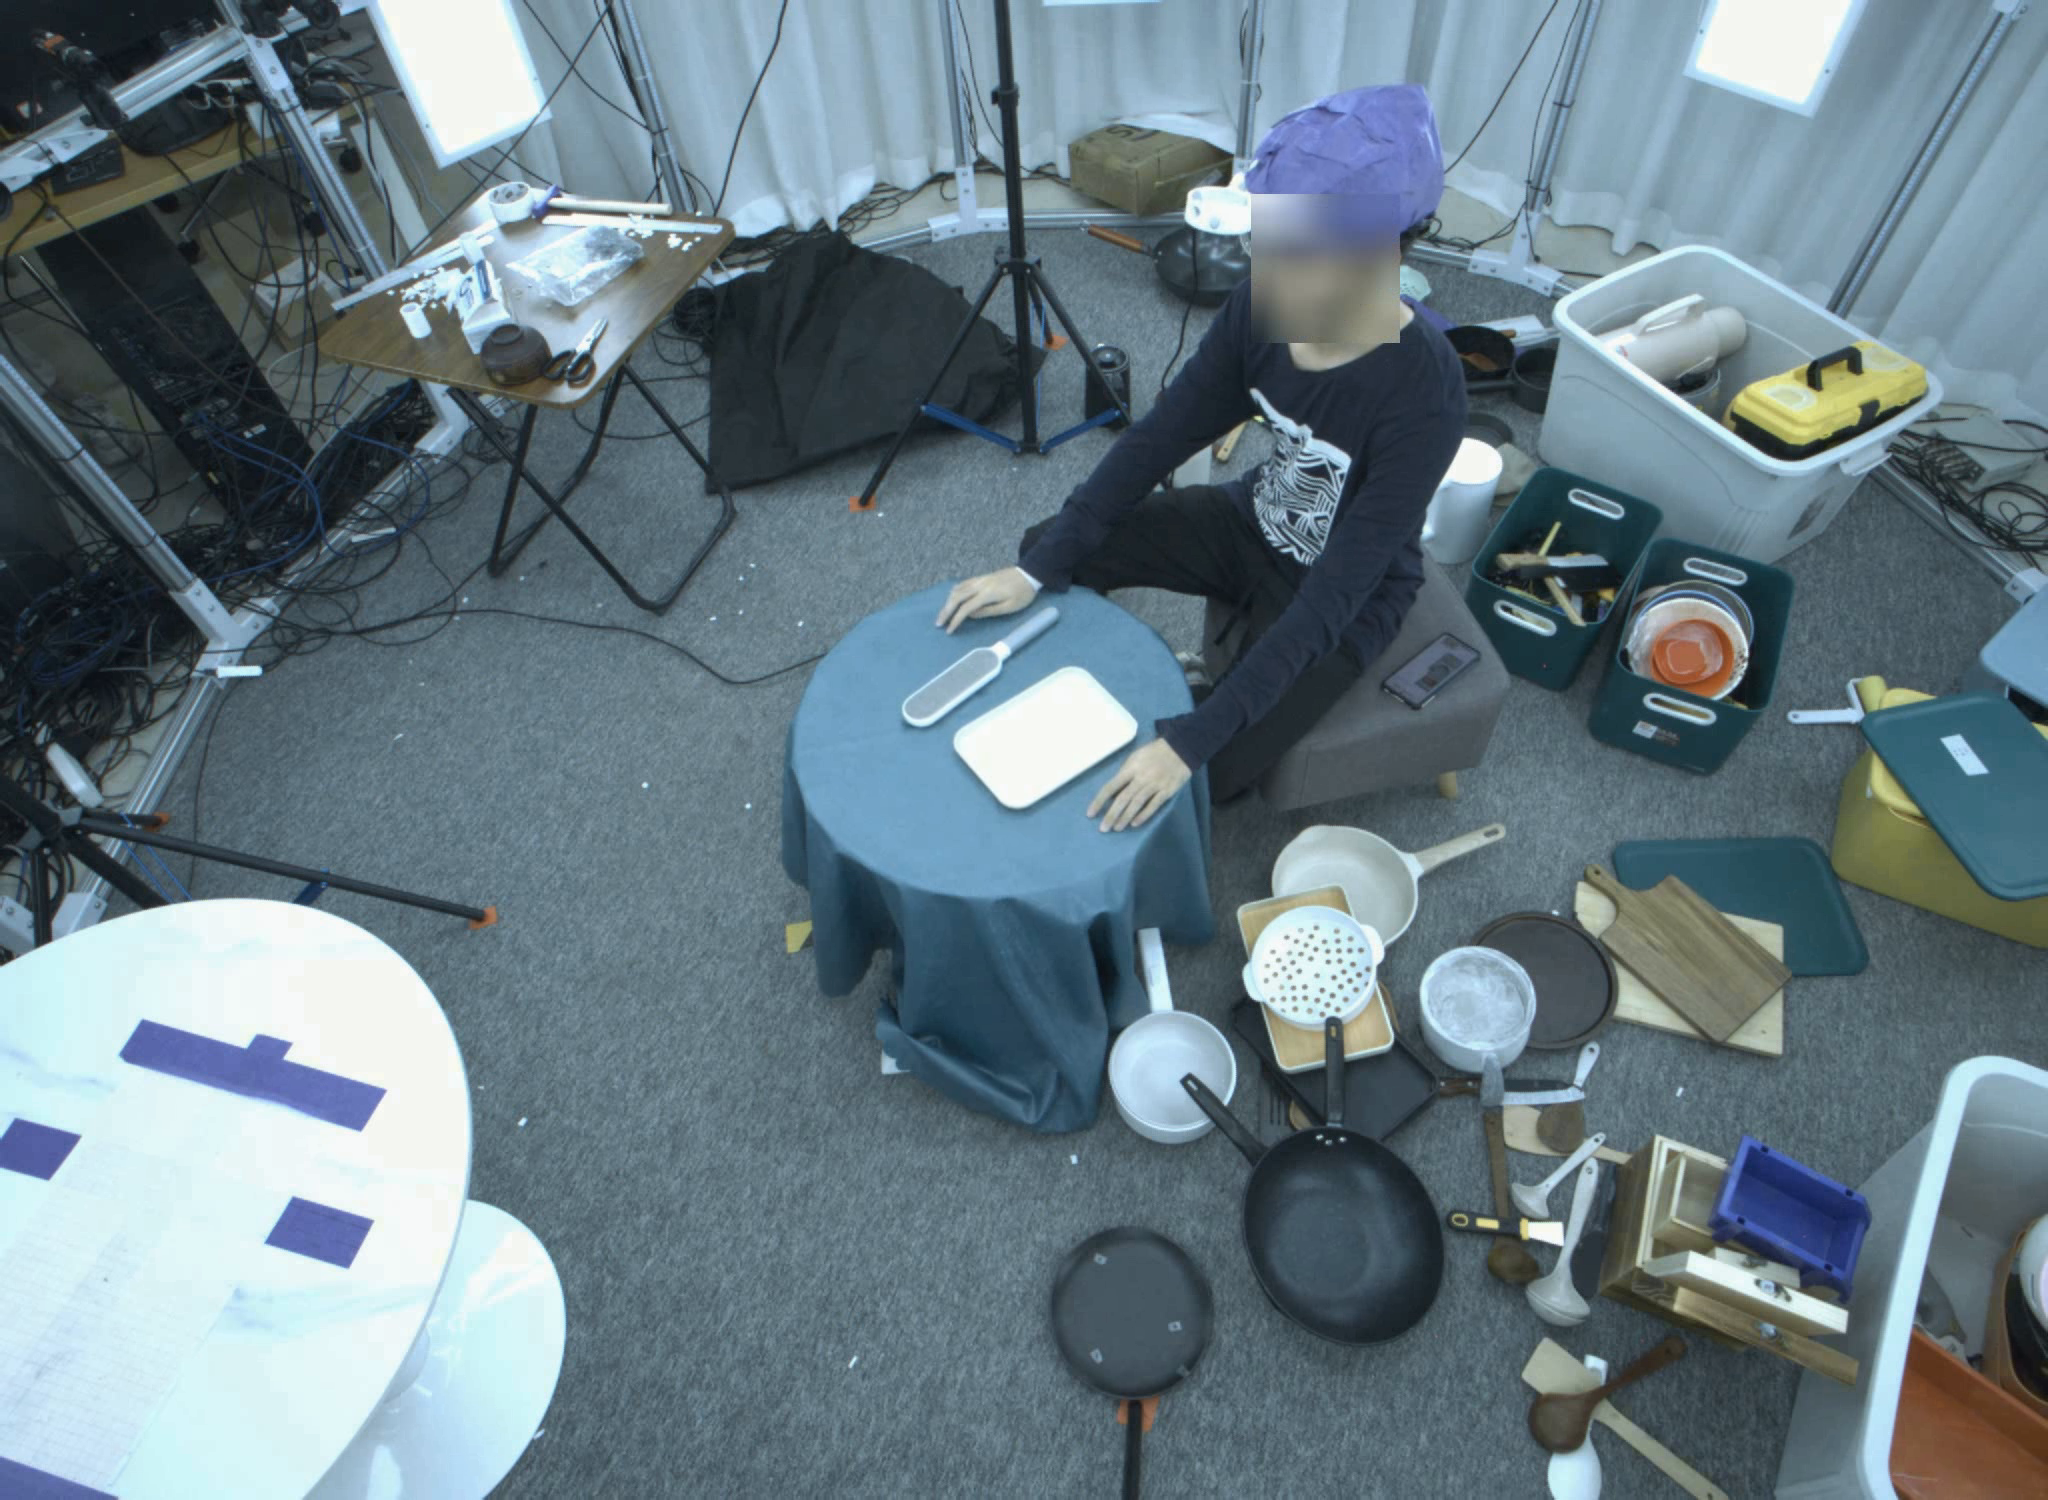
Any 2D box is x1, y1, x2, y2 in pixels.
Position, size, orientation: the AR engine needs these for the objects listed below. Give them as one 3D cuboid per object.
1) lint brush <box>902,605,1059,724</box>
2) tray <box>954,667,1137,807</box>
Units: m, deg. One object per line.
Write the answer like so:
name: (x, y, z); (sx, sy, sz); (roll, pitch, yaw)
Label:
lint brush: (-0.061, -0.134, 1.876); (0.311, 0.021, 0.059); (-38, 56, -23)
tray: (0.032, -0.020, 1.798); (0.241, 0.017, 0.168); (-32, 59, -20)
